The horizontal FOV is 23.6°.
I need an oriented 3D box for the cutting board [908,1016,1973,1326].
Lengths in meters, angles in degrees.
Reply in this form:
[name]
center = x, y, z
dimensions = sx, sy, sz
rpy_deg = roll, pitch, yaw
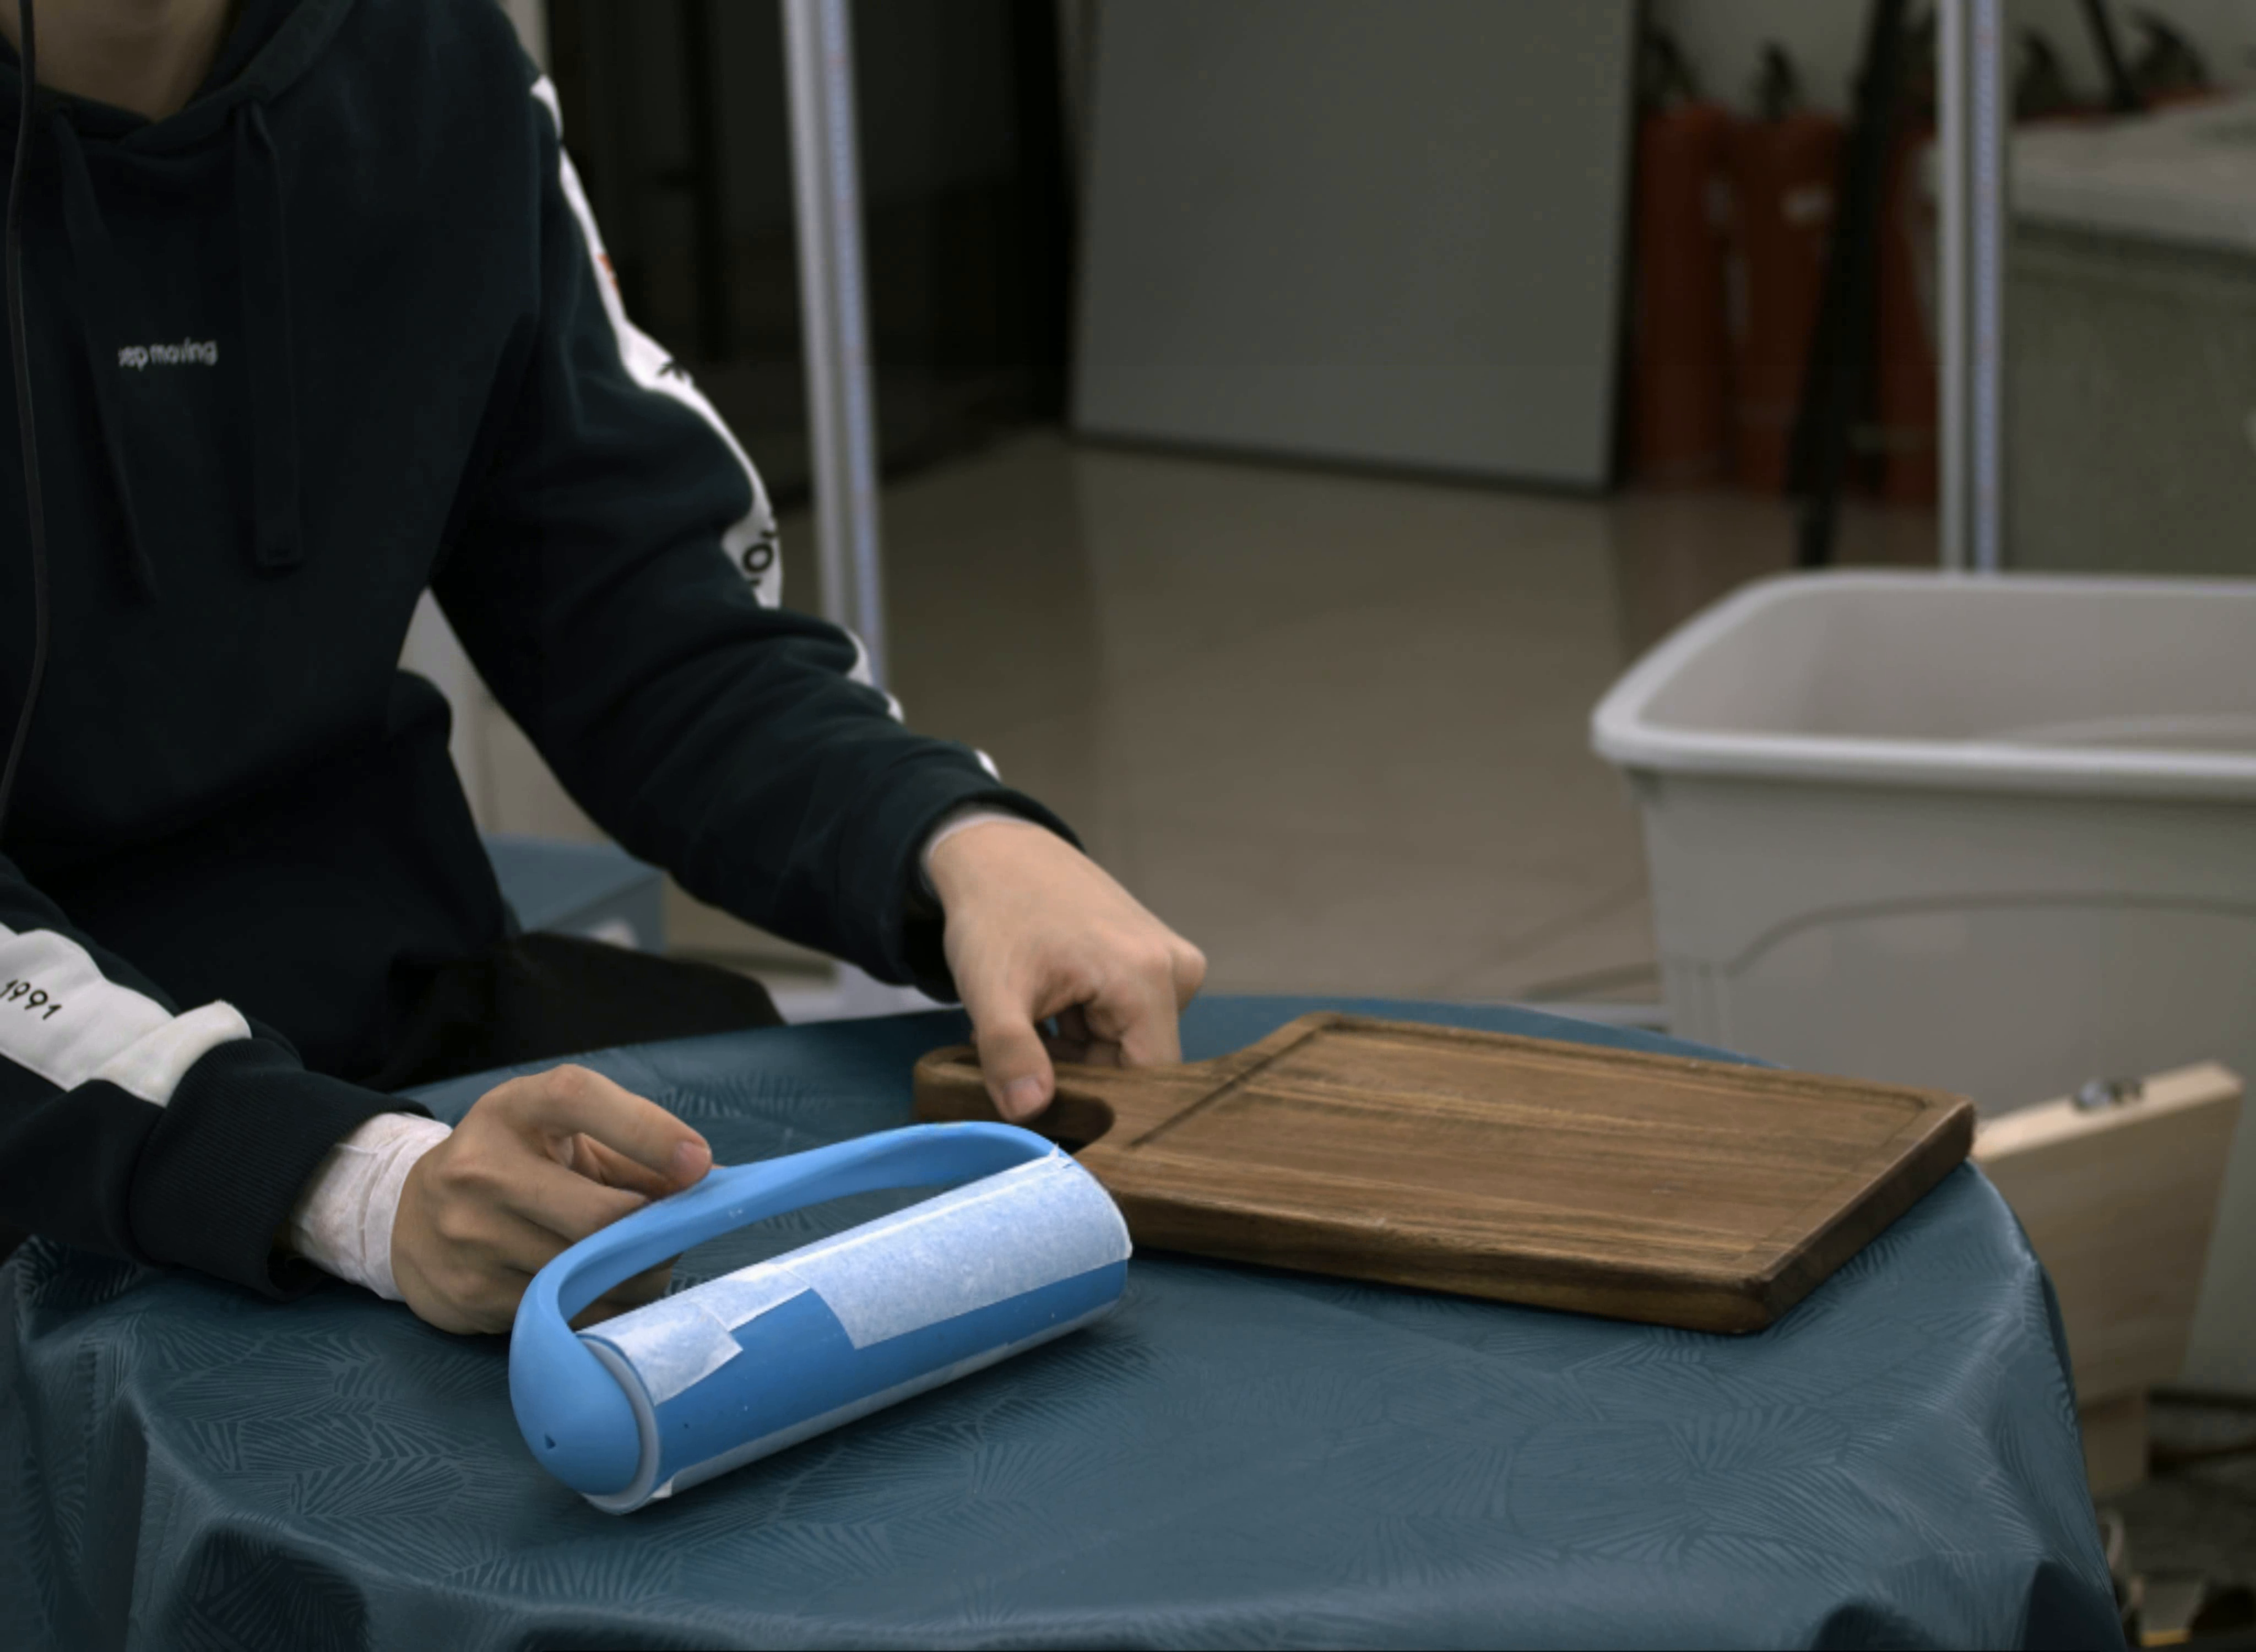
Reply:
[cutting board]
center = 0.082, 0.103, 1.756
dimensions = 0.353, 0.023, 0.198
rpy_deg = 6, 16, 29

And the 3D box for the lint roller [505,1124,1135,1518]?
[lint roller]
center = -0.126, 0.137, 1.617
dimensions = 0.182, 0.068, 0.224
rpy_deg = 11, 21, 40
